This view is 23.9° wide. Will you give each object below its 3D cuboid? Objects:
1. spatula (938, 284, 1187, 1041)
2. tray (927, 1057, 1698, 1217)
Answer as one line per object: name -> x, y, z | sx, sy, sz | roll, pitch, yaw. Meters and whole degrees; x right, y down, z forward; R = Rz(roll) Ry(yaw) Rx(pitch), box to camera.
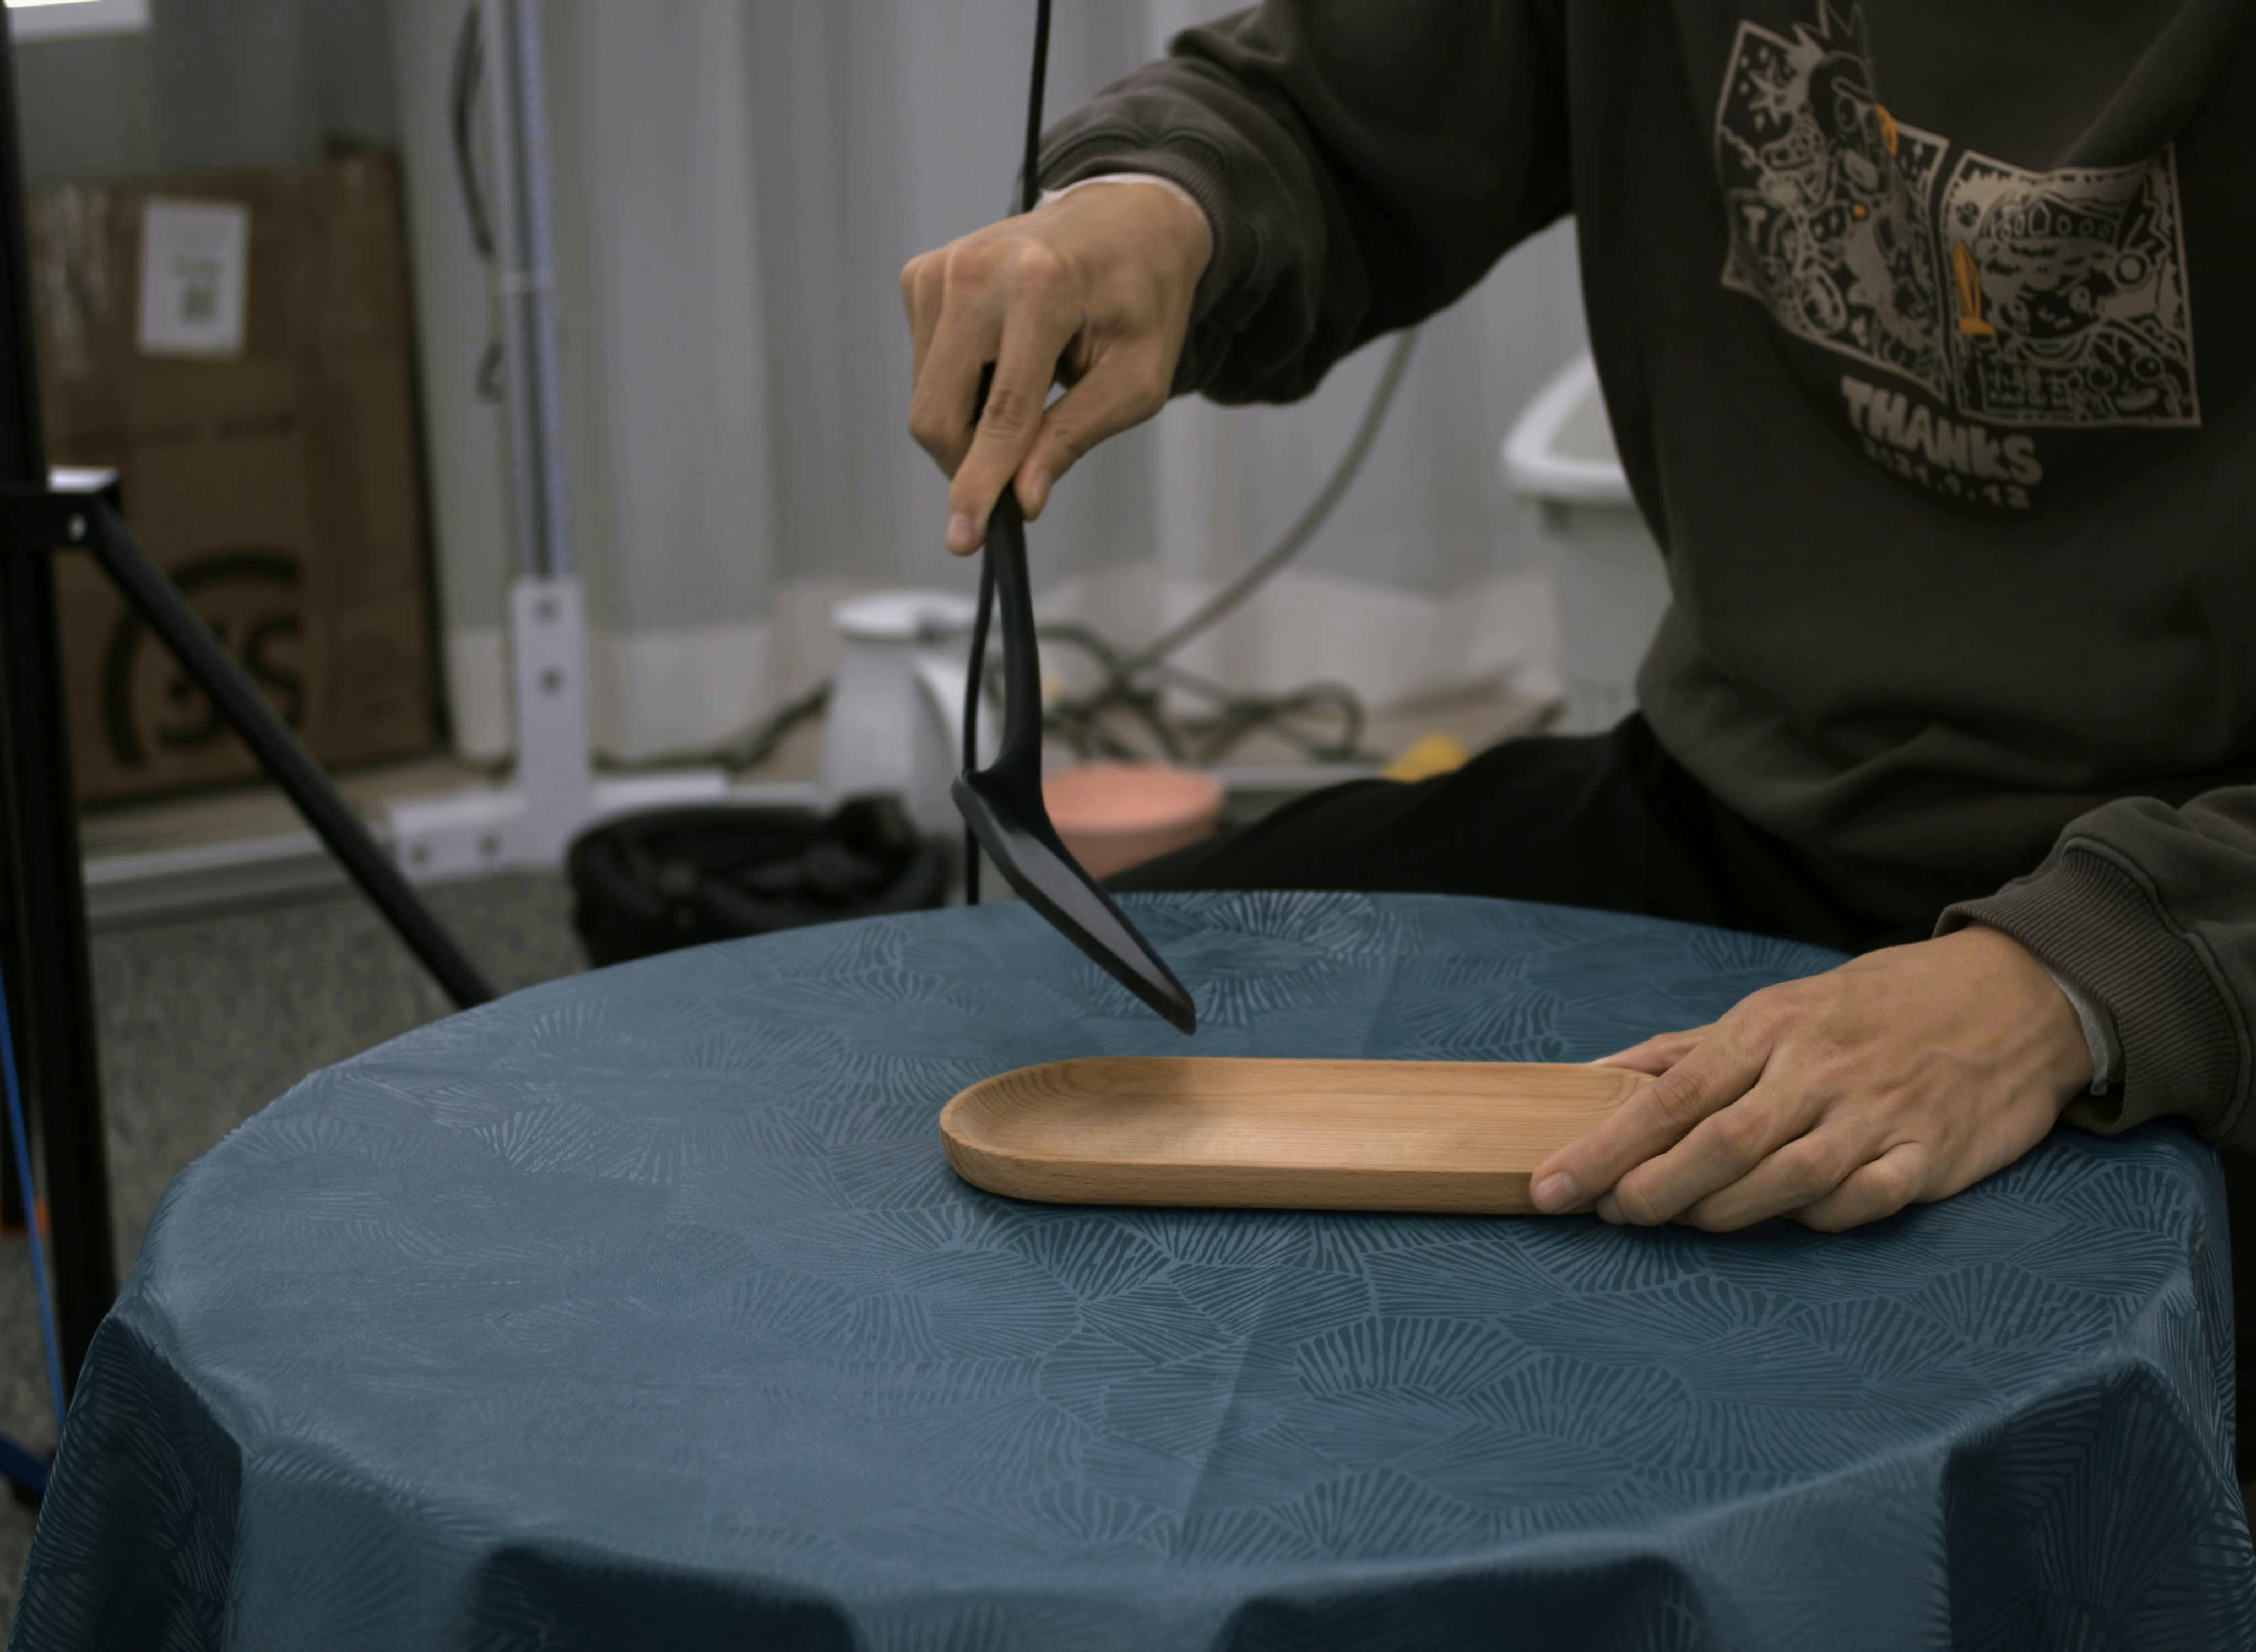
spatula -> -0.033, -0.067, 1.691 | 0.041, 0.097, 0.330 | -29, 42, 23
tray -> 0.054, 0.093, 1.578 | 0.232, 0.020, 0.101 | 0, 15, 13
